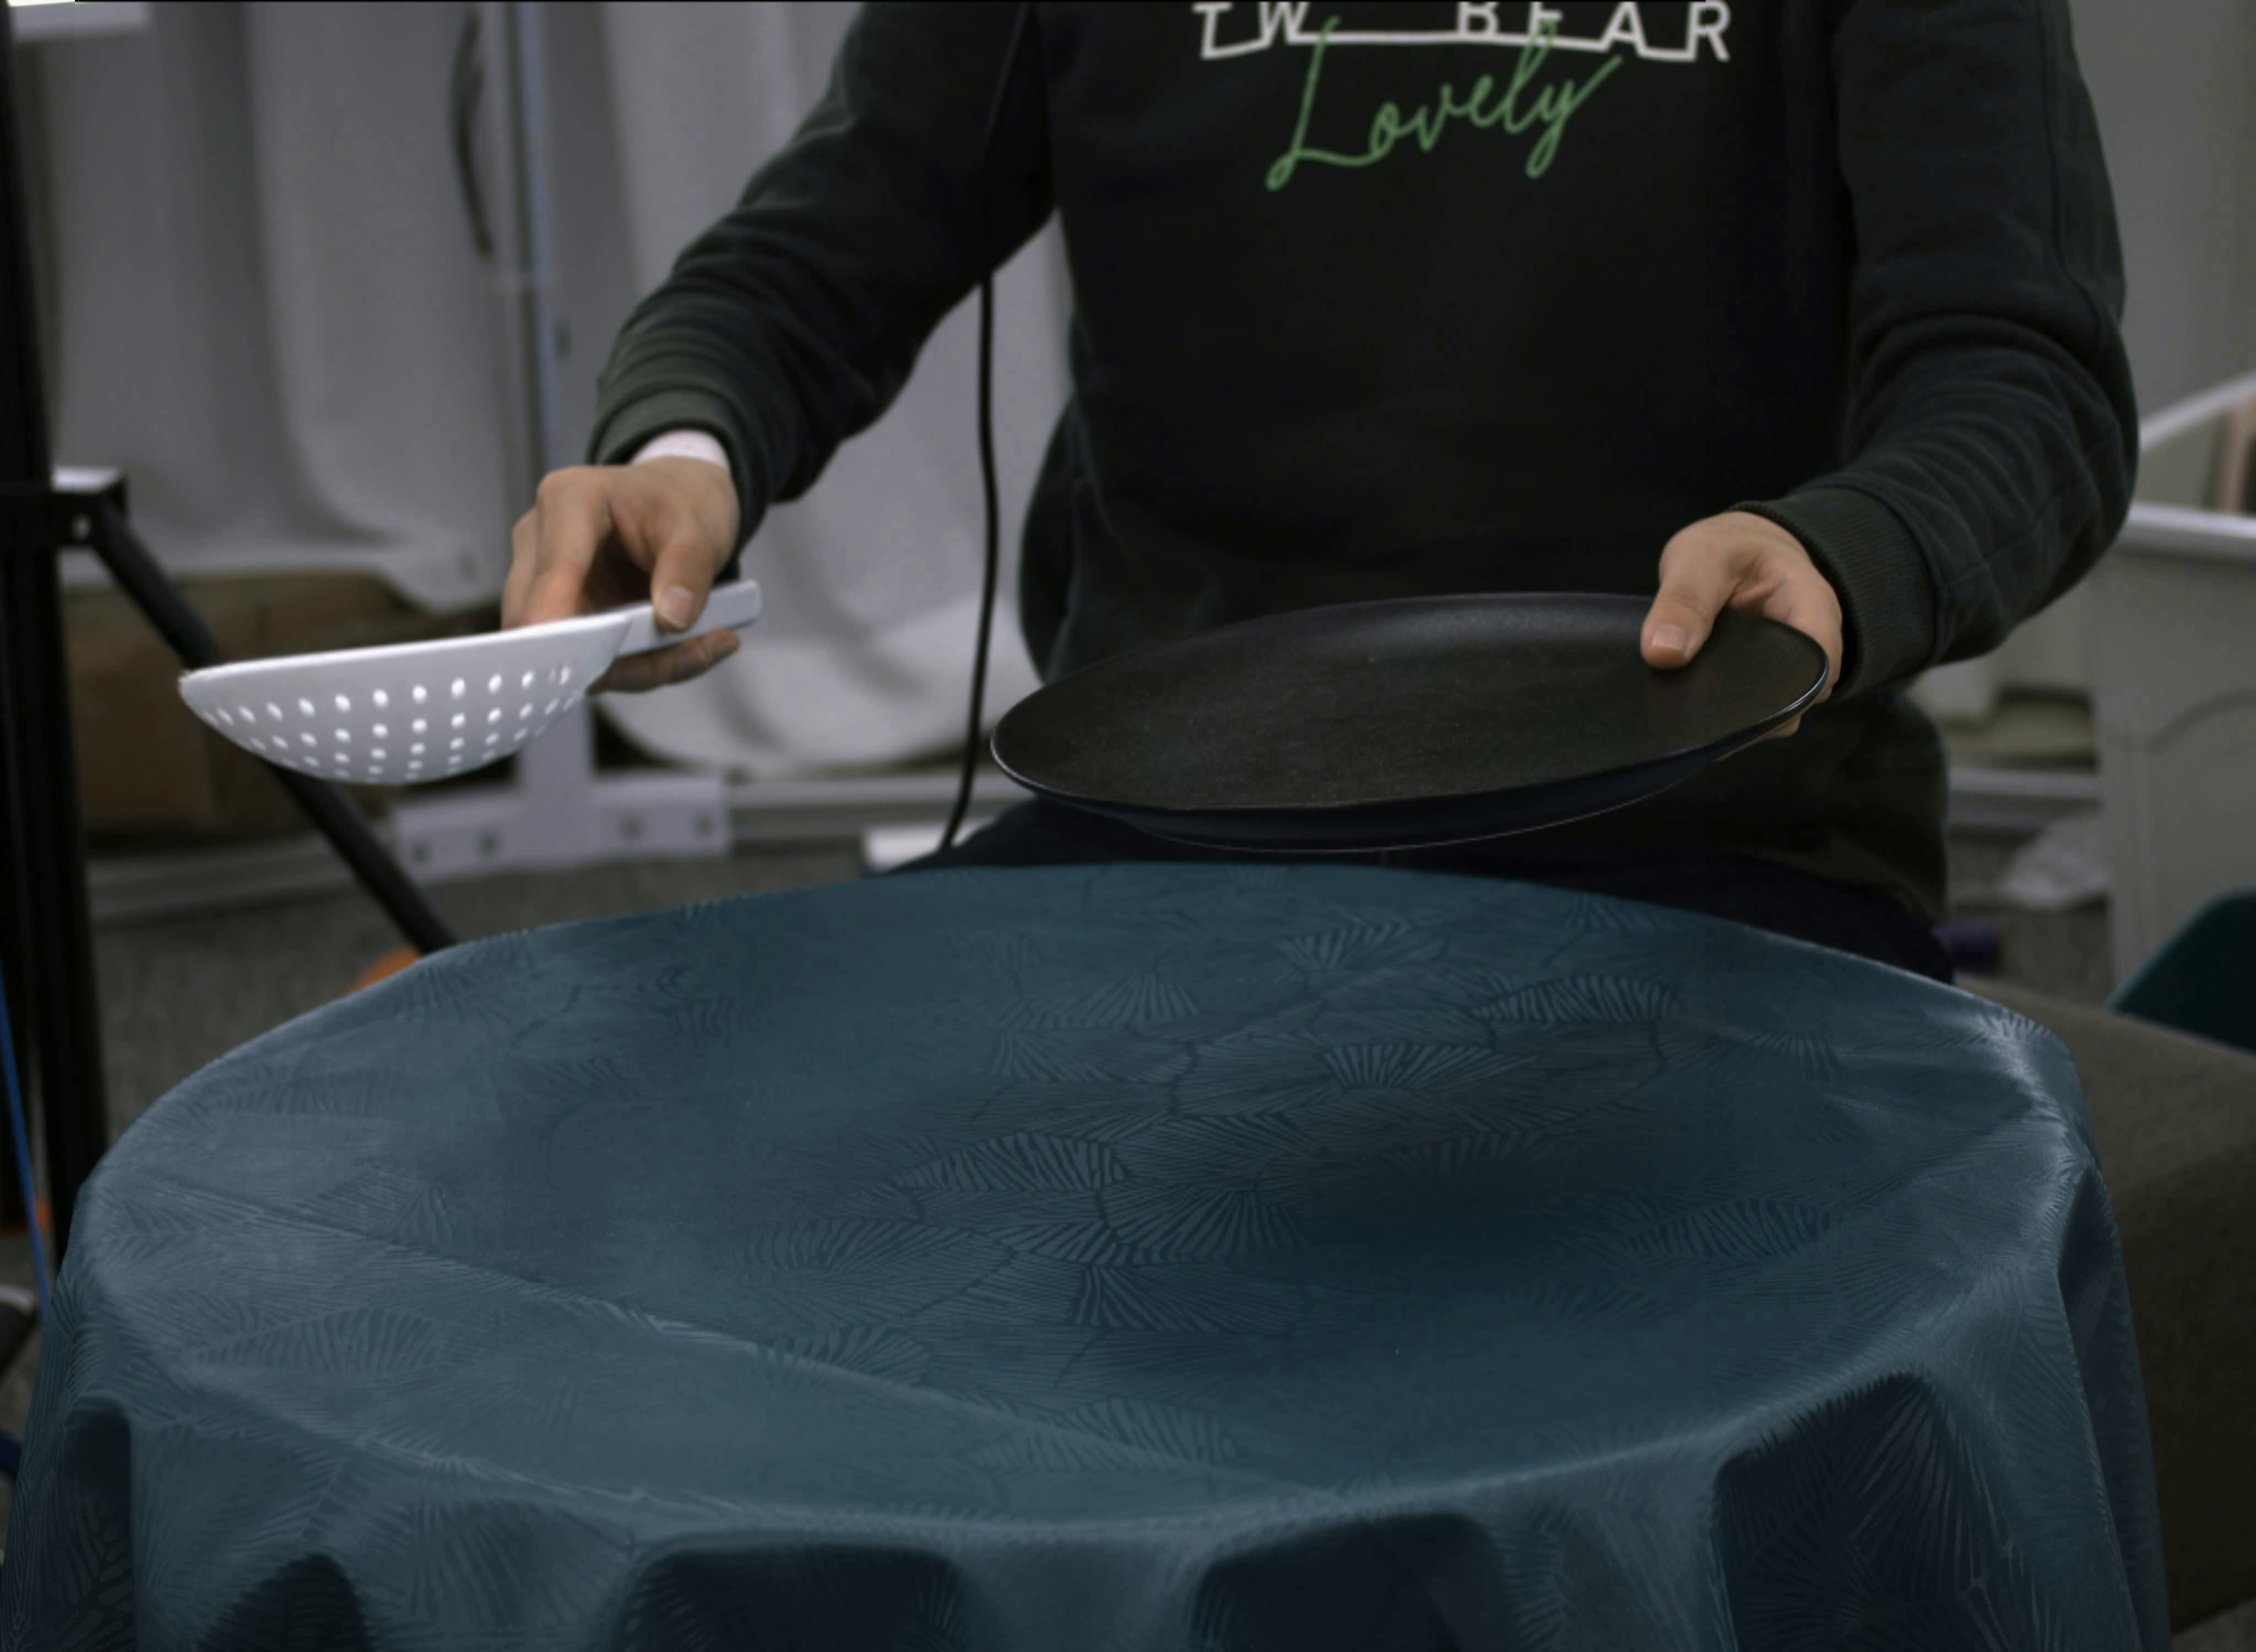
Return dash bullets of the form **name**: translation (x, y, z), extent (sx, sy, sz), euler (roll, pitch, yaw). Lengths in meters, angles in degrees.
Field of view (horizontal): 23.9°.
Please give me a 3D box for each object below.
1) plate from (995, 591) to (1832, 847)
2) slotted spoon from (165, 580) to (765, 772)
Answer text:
- **plate**: translation (0.082, -0.029, 1.539), extent (0.243, 0.023, 0.245), euler (-7, 15, 0)
- **slotted spoon**: translation (-0.182, -0.058, 1.656), extent (0.137, 0.046, 0.346), euler (-5, 9, 16)
